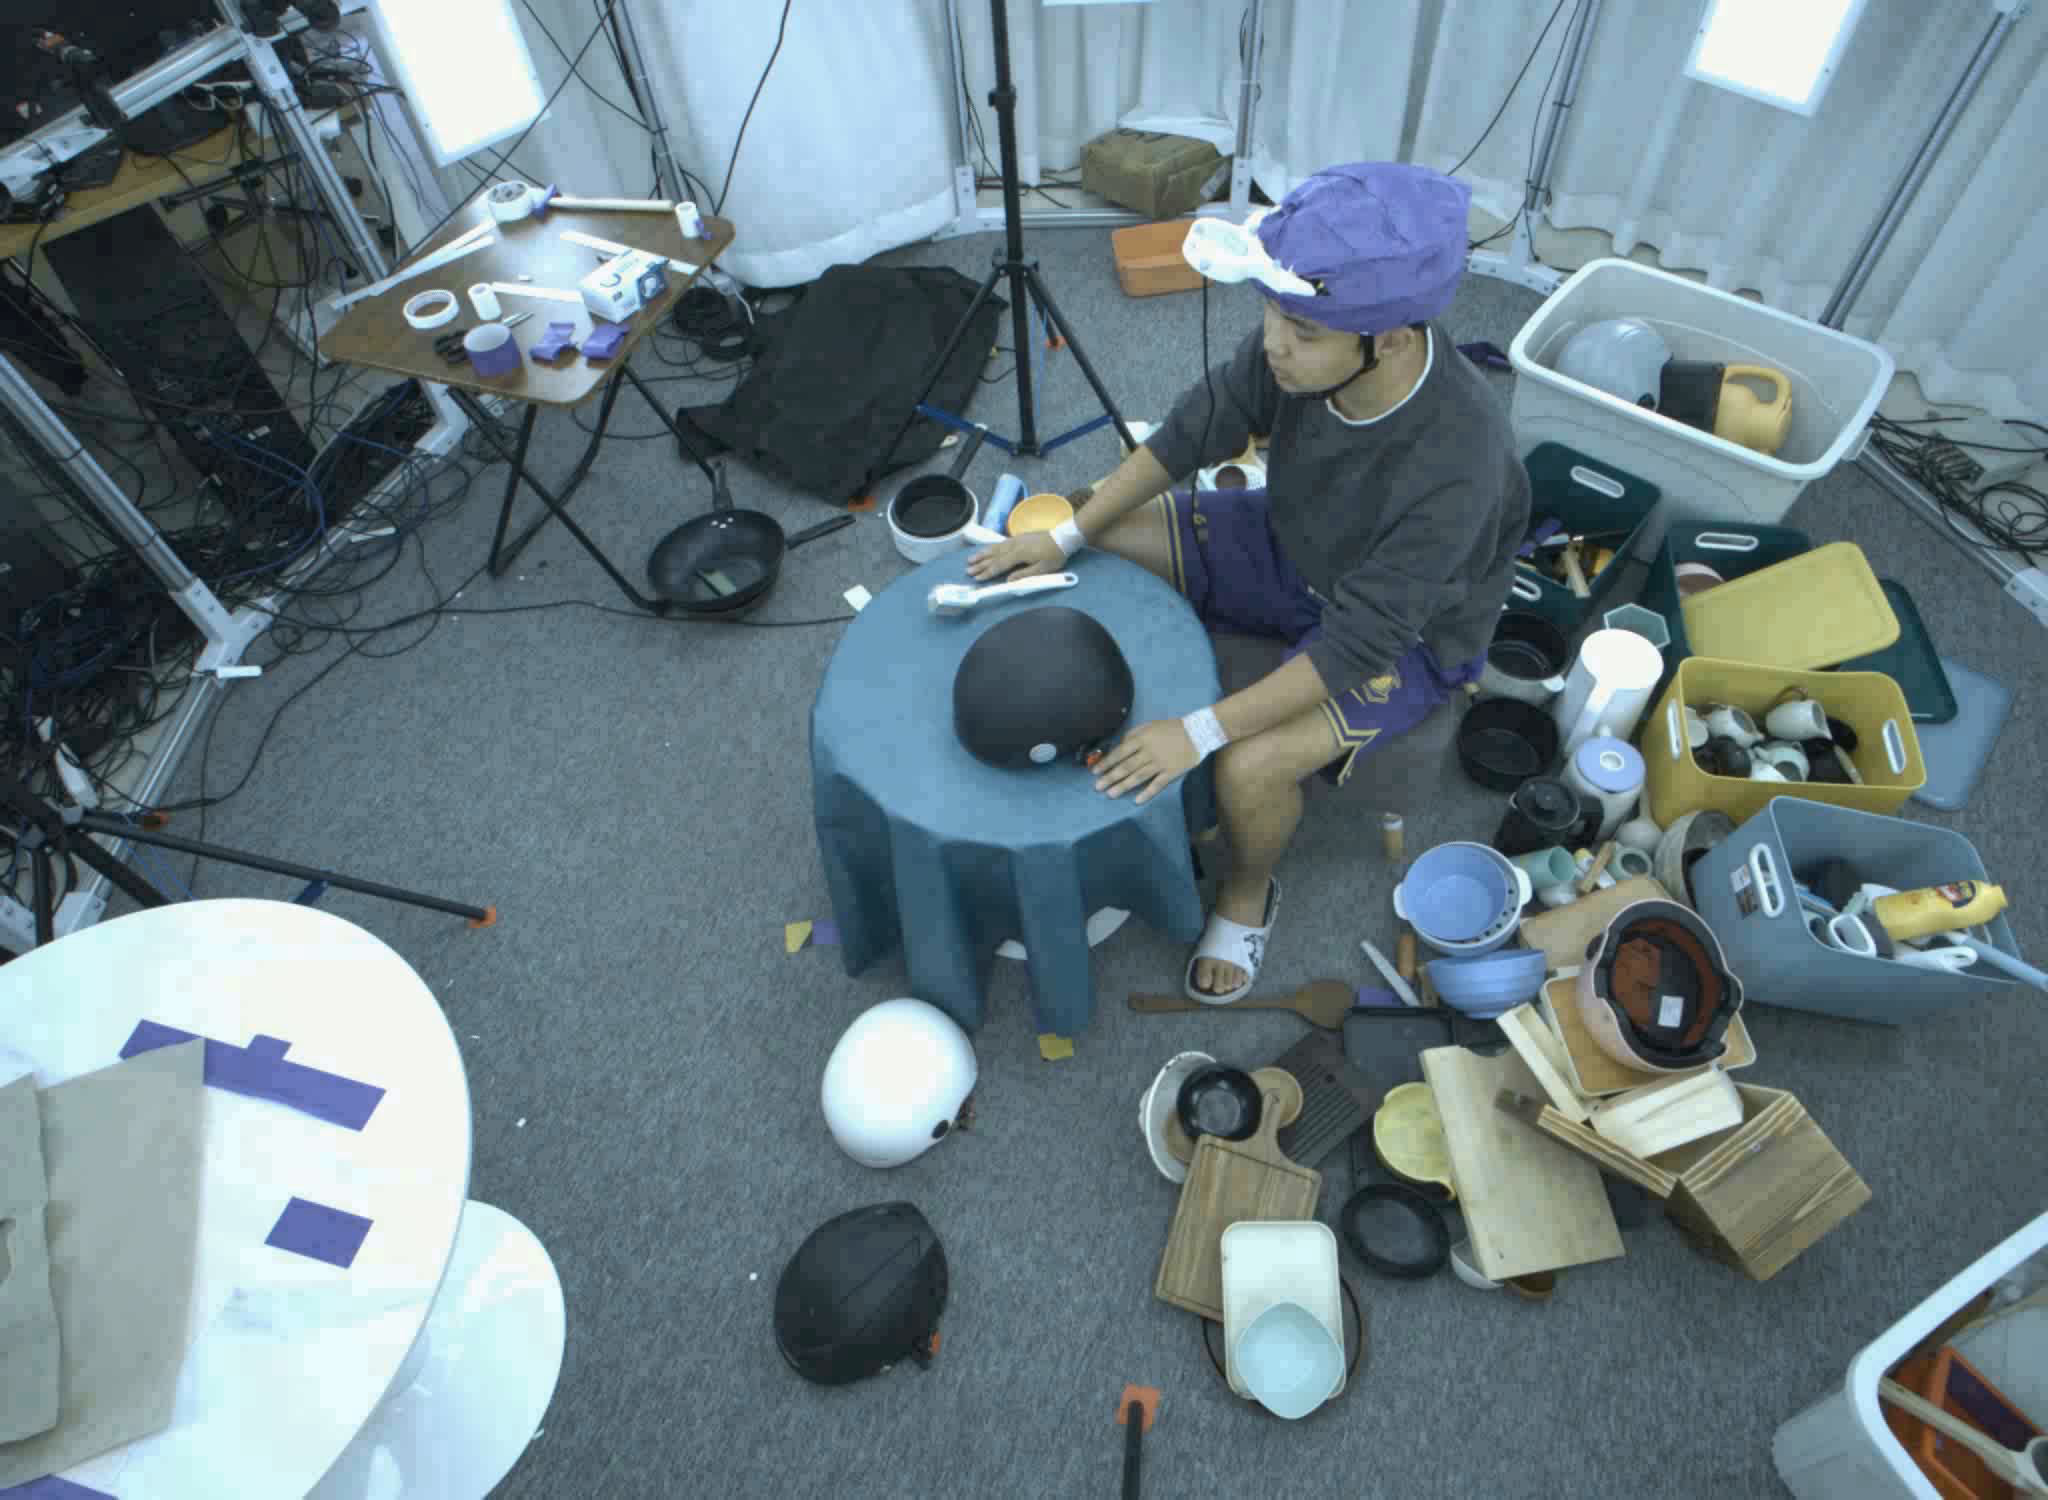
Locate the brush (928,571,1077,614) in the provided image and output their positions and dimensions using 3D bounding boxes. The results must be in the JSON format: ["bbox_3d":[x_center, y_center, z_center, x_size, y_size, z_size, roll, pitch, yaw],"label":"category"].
[{"bbox_3d":[-0.034,-0.251,1.955,0.247,0.050,0.034,-10,62,-21],"label":"brush"}]

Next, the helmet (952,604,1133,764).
[{"bbox_3d":[0.020,-0.112,1.772,0.274,0.169,0.226,-18,53,-8],"label":"helmet"}]
